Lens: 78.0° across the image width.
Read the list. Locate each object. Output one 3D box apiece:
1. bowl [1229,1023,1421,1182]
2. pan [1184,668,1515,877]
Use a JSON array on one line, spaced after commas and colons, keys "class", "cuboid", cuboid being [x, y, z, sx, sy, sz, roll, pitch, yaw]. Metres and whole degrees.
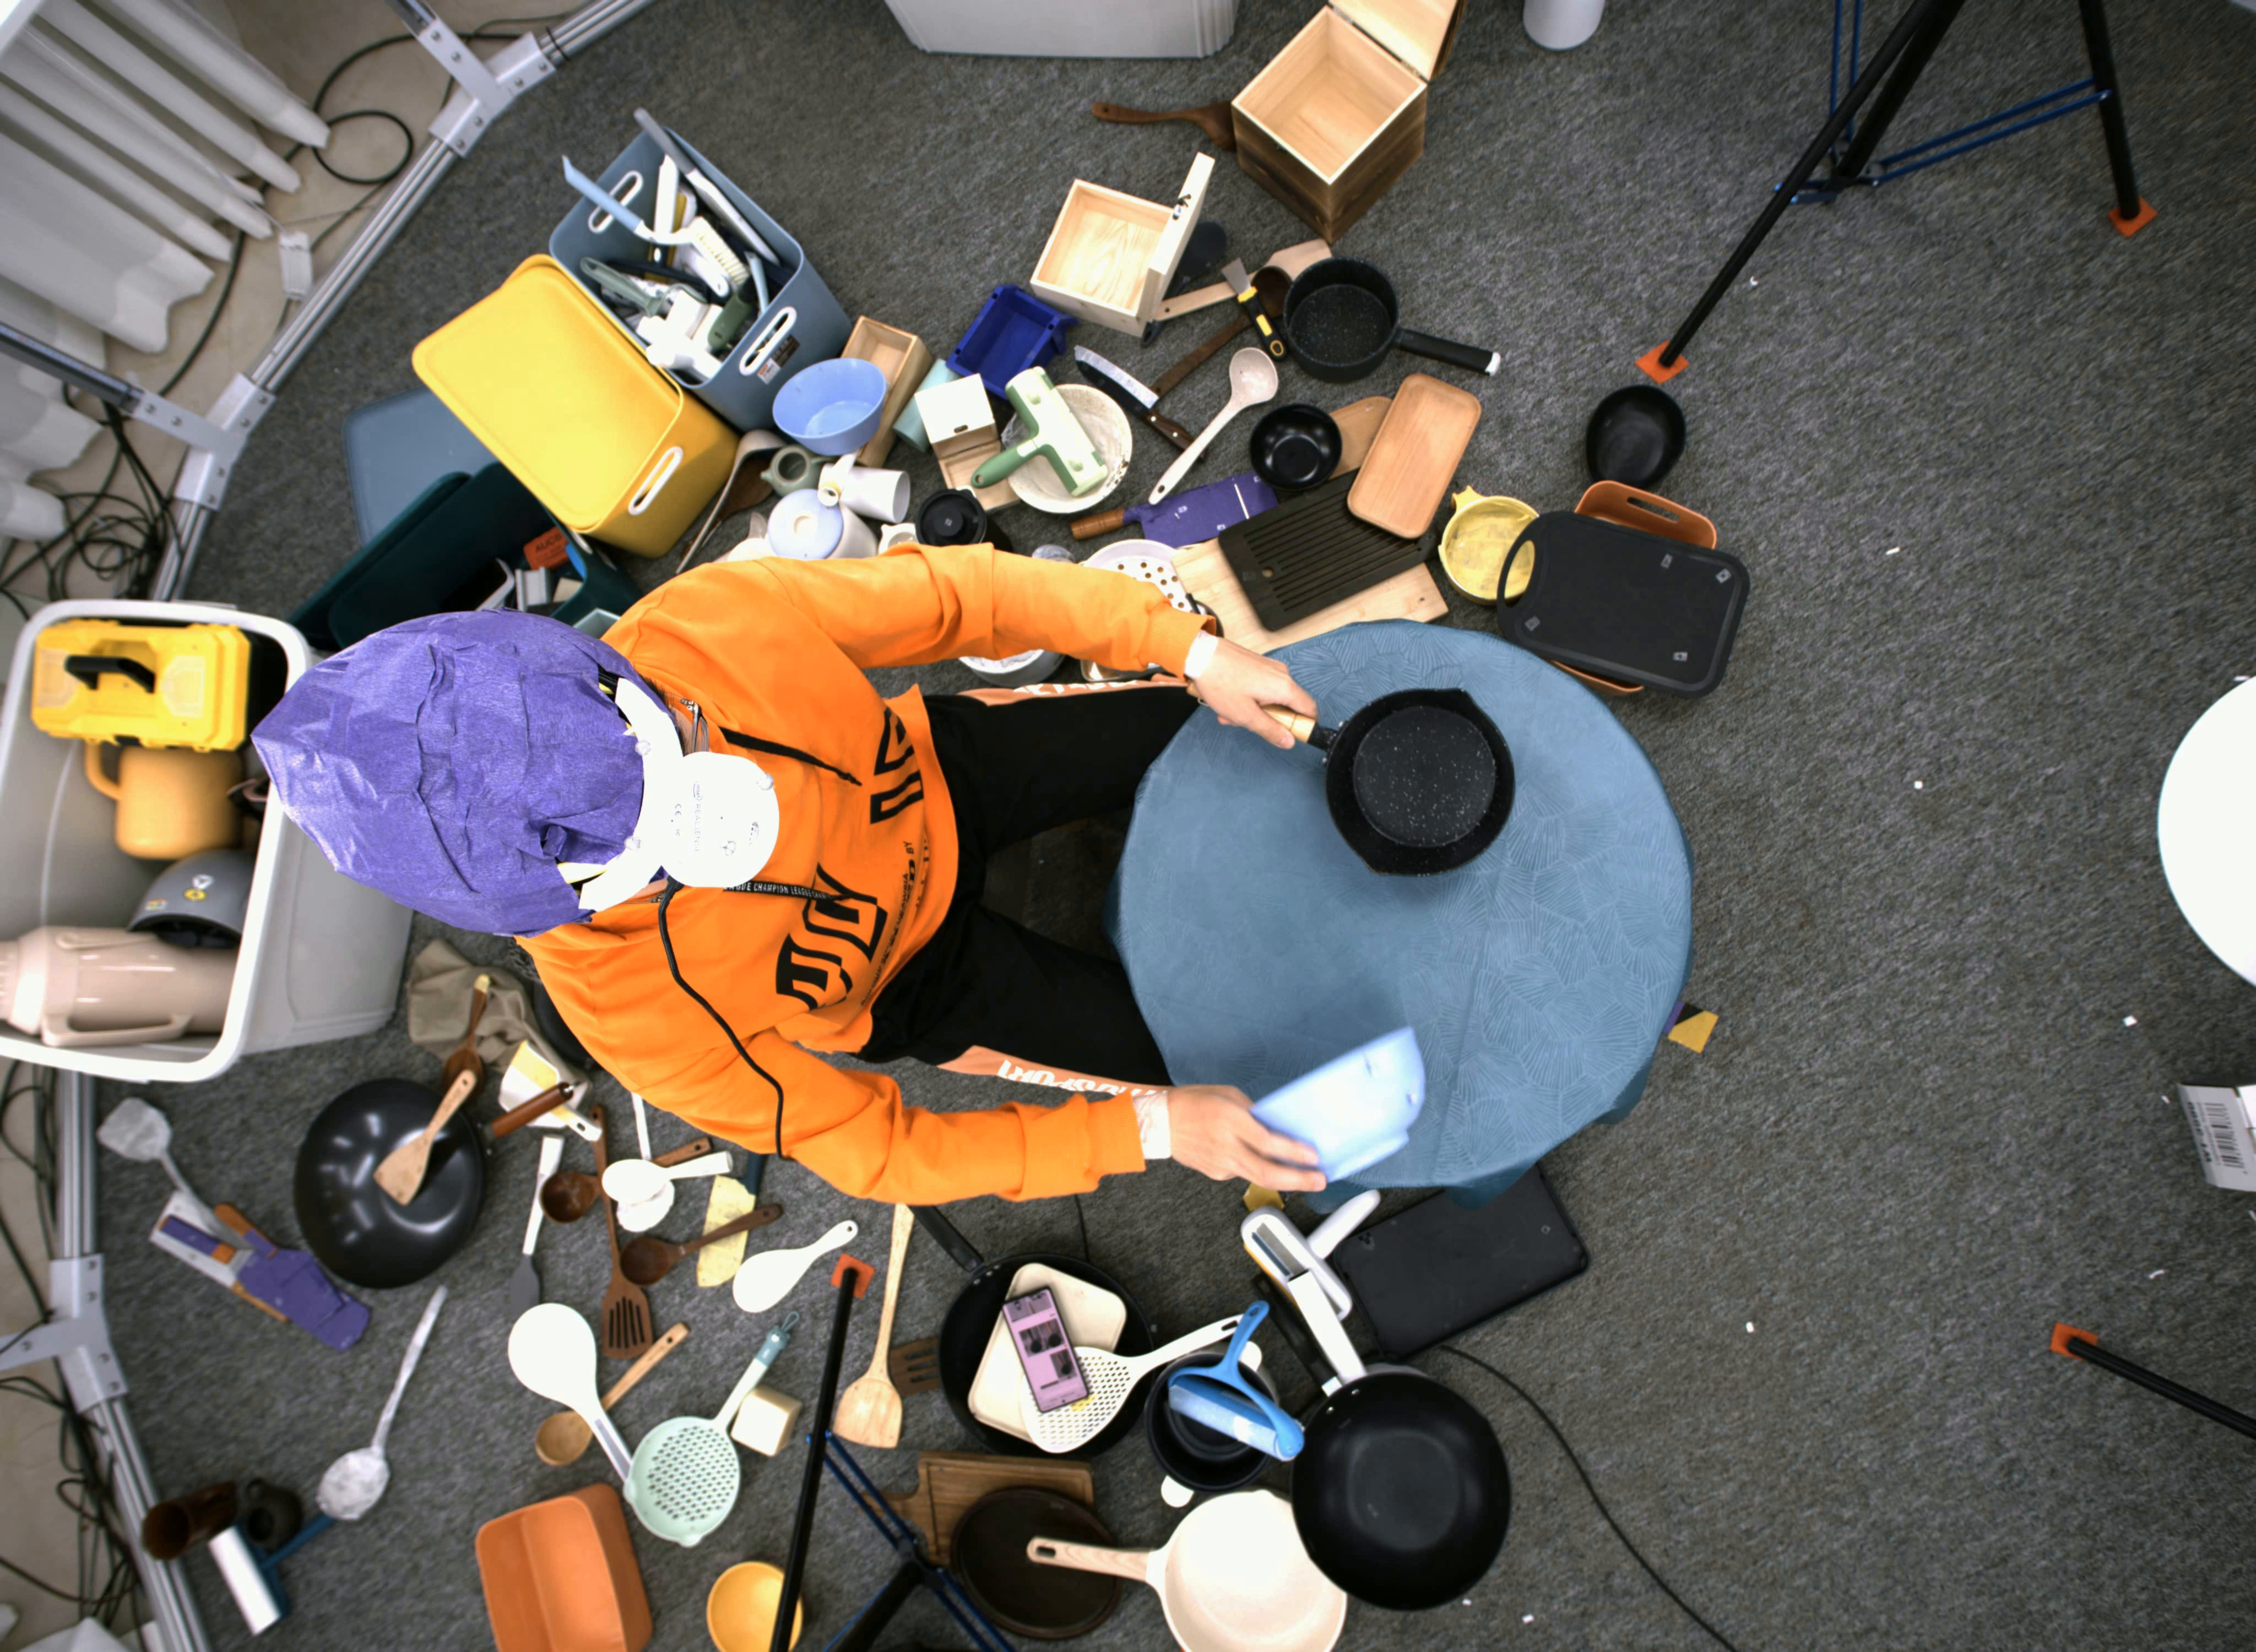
[{"class": "bowl", "cuboid": [0.205, 0.277, 1.332, 0.197, 0.198, 0.094, -30, 72, 6]}, {"class": "pan", "cuboid": [0.219, -0.079, 1.381, 0.342, 0.107, 0.210, 24, 106, 10]}]
